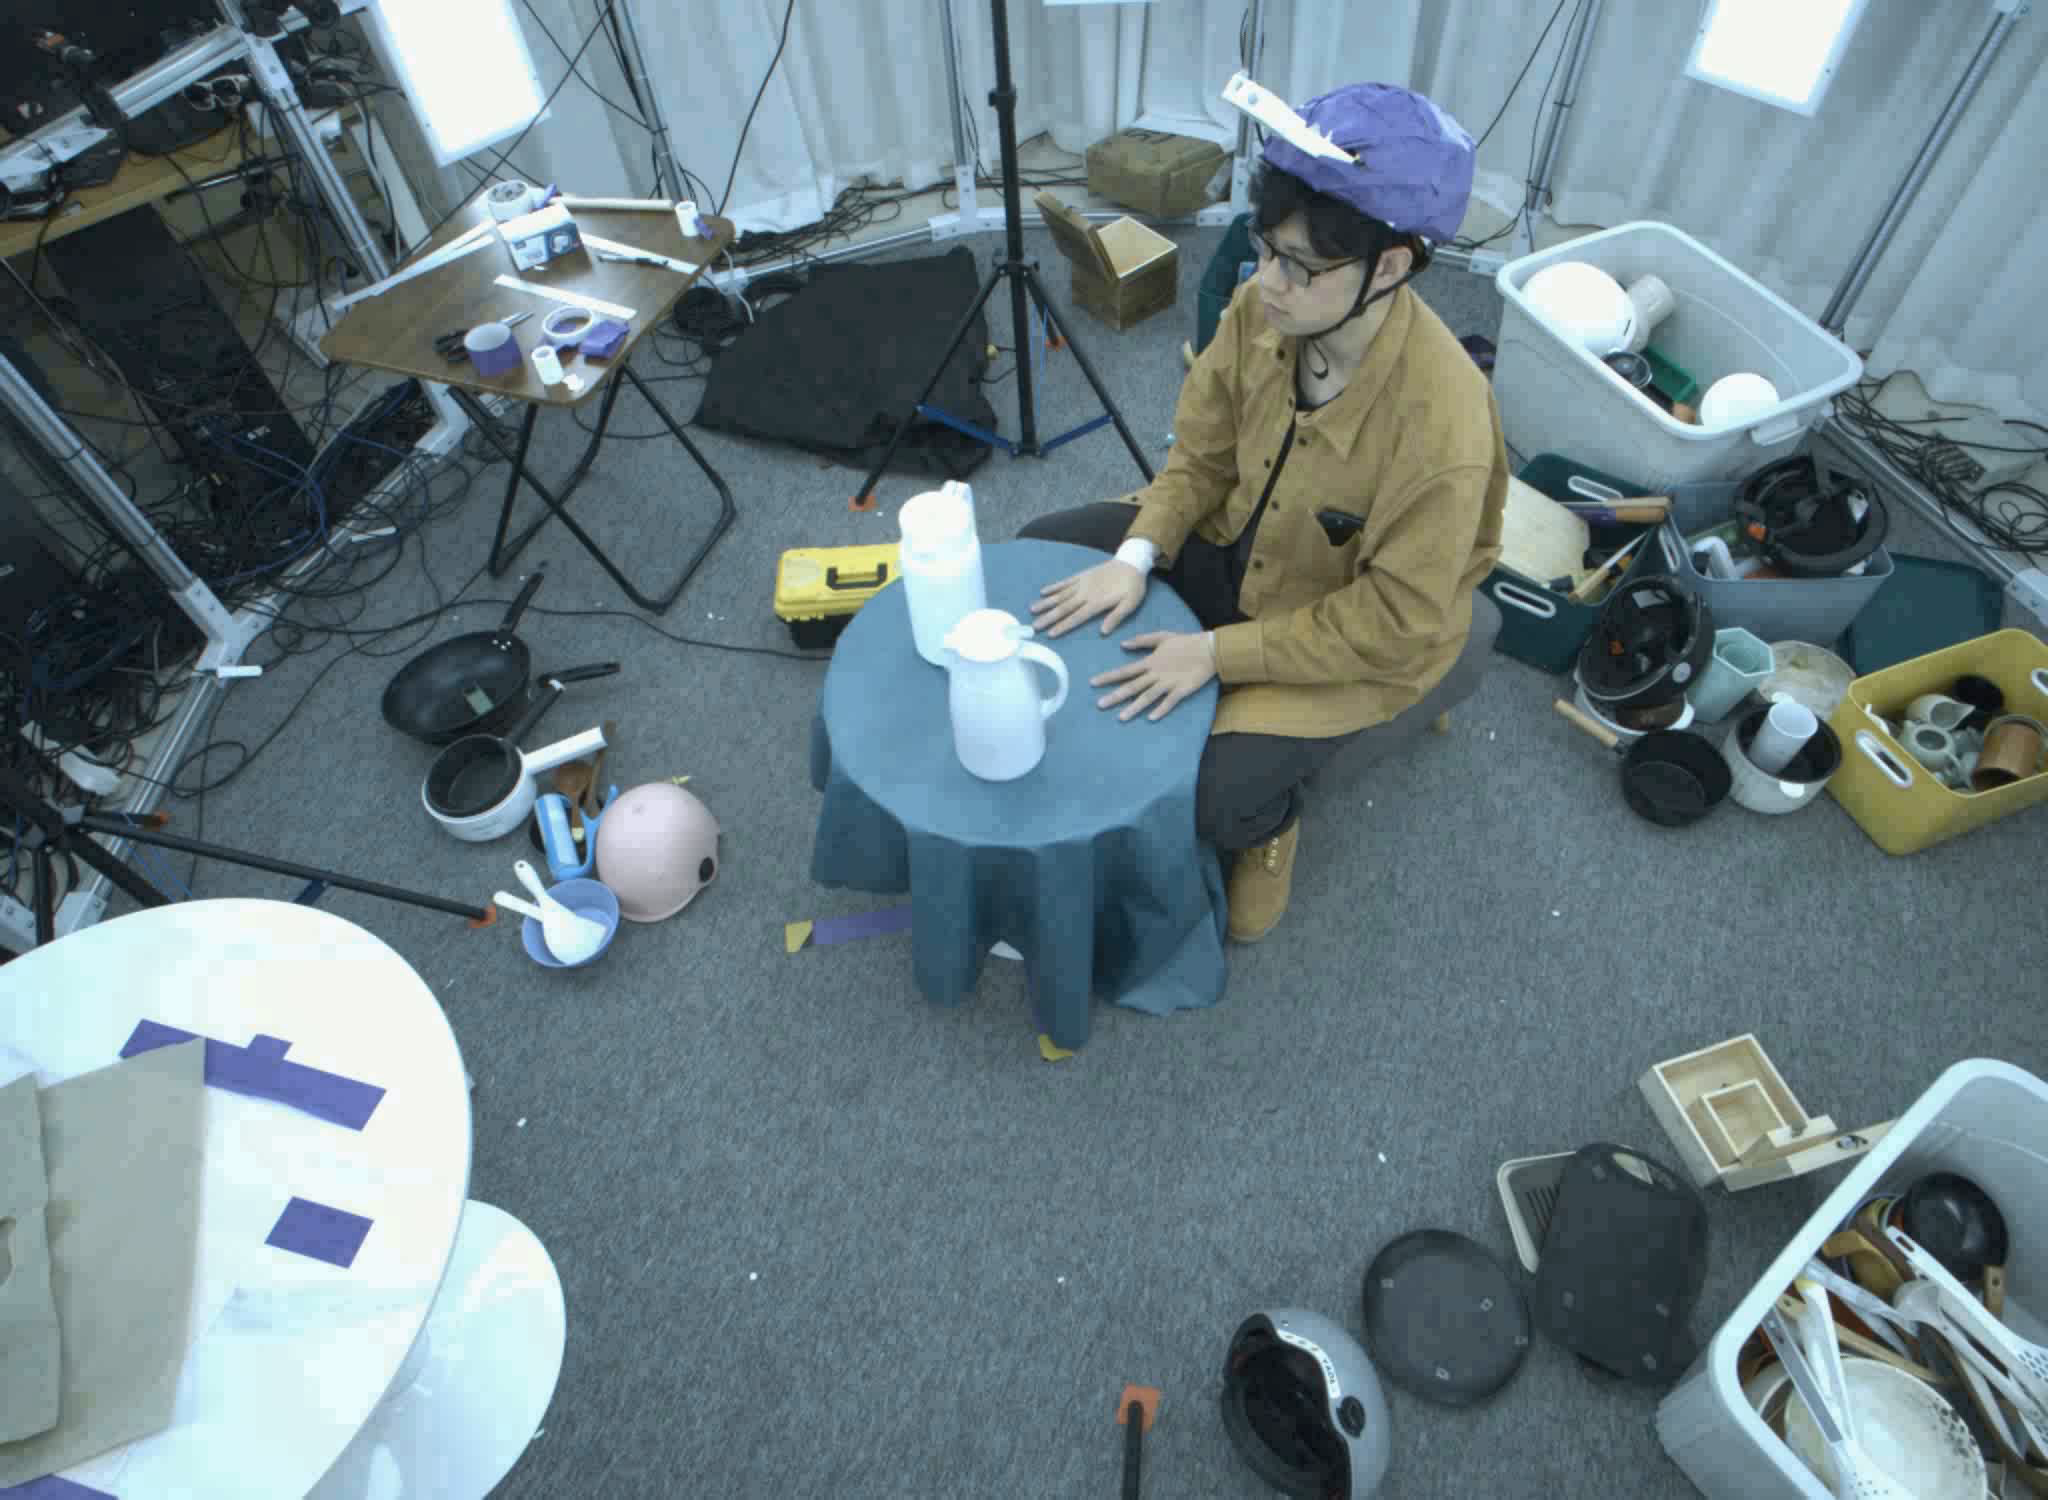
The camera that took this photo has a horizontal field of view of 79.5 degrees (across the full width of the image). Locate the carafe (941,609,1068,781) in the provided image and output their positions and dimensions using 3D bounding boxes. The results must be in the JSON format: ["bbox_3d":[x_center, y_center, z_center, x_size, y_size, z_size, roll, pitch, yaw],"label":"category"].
[{"bbox_3d":[-0.023,-0.082,1.688,0.167,0.251,0.131,2,54,3],"label":"carafe"}]

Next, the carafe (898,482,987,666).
[{"bbox_3d":[-0.115,-0.262,1.809,0.122,0.272,0.172,11,56,14],"label":"carafe"}]
